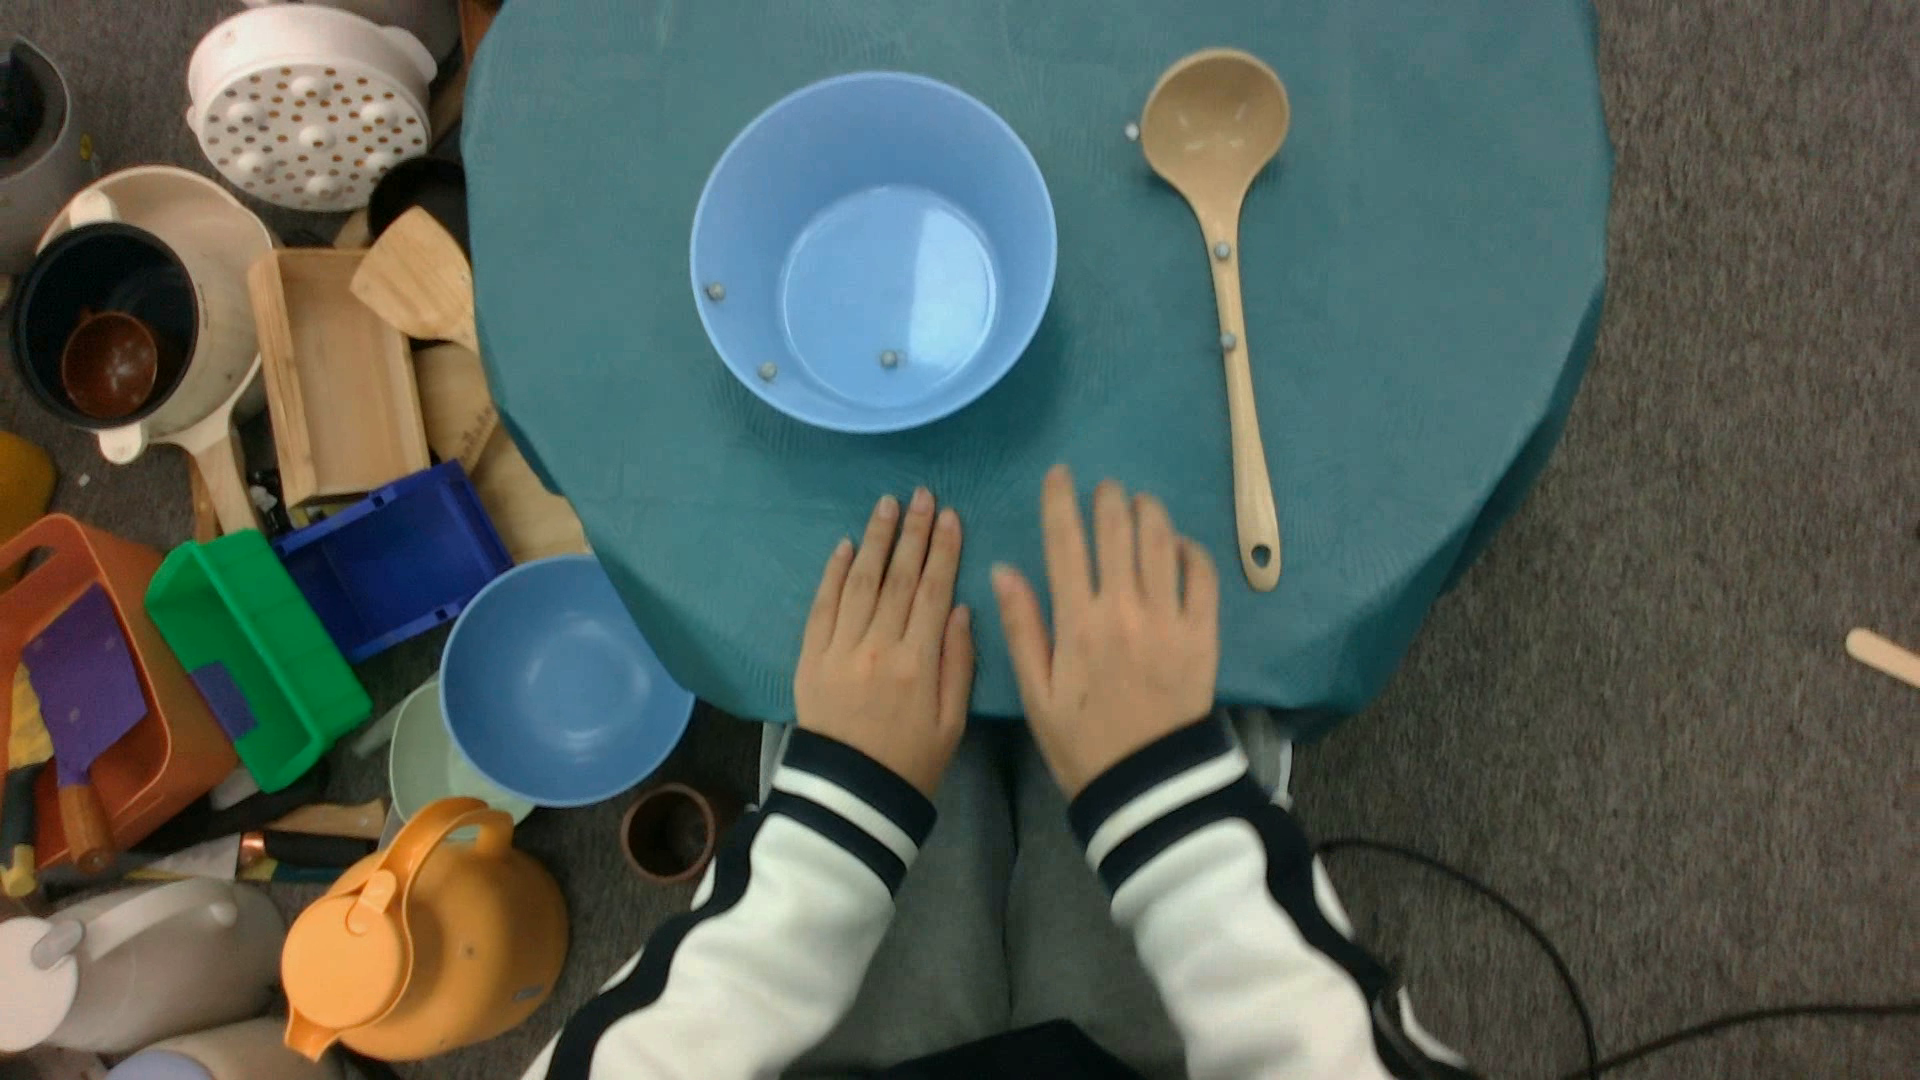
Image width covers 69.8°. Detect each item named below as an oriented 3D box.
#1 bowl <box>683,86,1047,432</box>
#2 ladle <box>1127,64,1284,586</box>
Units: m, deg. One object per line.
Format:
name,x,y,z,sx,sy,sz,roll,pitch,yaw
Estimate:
bowl,-0.043,-0.130,0.687,0.176,0.070,0.176,-1,78,5
ladle,0.132,-0.108,0.669,0.072,0.073,0.255,-8,78,5
